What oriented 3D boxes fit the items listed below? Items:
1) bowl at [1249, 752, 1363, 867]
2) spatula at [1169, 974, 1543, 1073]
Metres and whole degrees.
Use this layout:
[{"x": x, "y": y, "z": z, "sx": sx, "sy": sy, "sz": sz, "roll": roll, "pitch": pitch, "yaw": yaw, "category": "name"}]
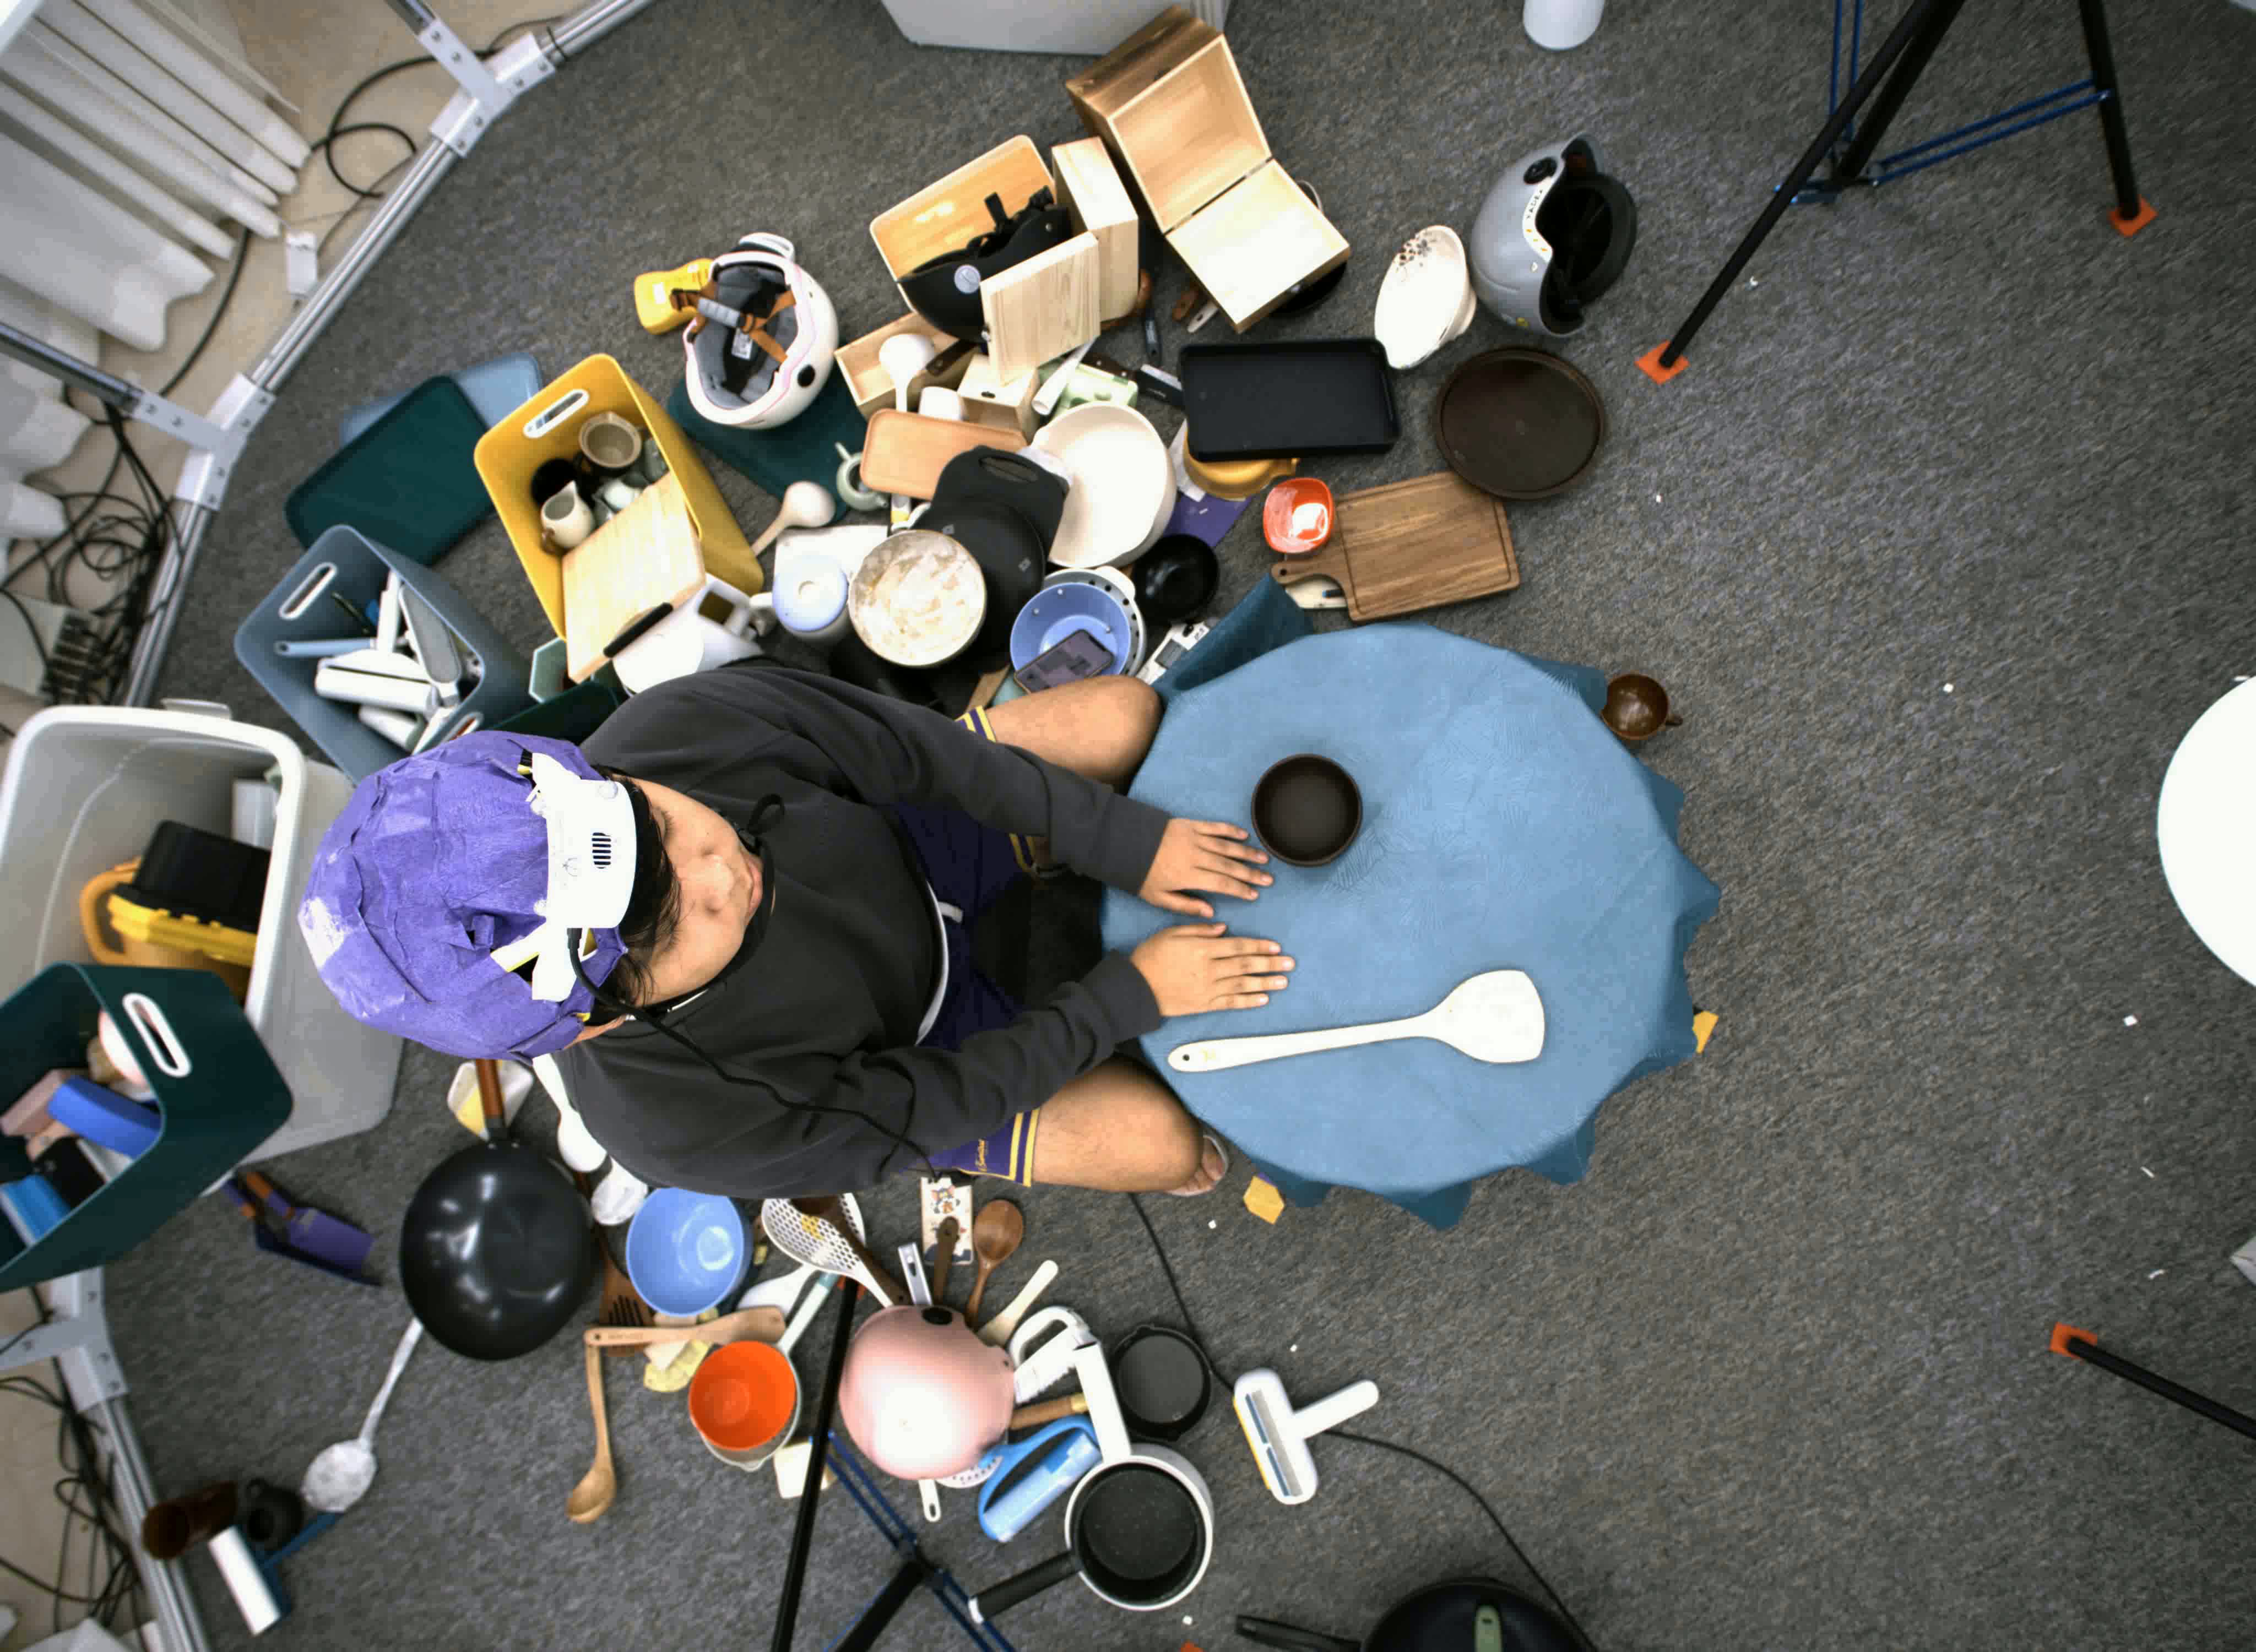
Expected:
[{"x": 0.187, "y": -0.015, "z": 1.443, "sx": 0.118, "sy": 0.070, "sz": 0.117, "roll": -1, "pitch": 86, "yaw": 12, "category": "bowl"}, {"x": 0.235, "y": 0.224, "z": 1.448, "sx": 0.392, "sy": 0.018, "sz": 0.095, "roll": -9, "pitch": 83, "yaw": 9, "category": "spatula"}]
